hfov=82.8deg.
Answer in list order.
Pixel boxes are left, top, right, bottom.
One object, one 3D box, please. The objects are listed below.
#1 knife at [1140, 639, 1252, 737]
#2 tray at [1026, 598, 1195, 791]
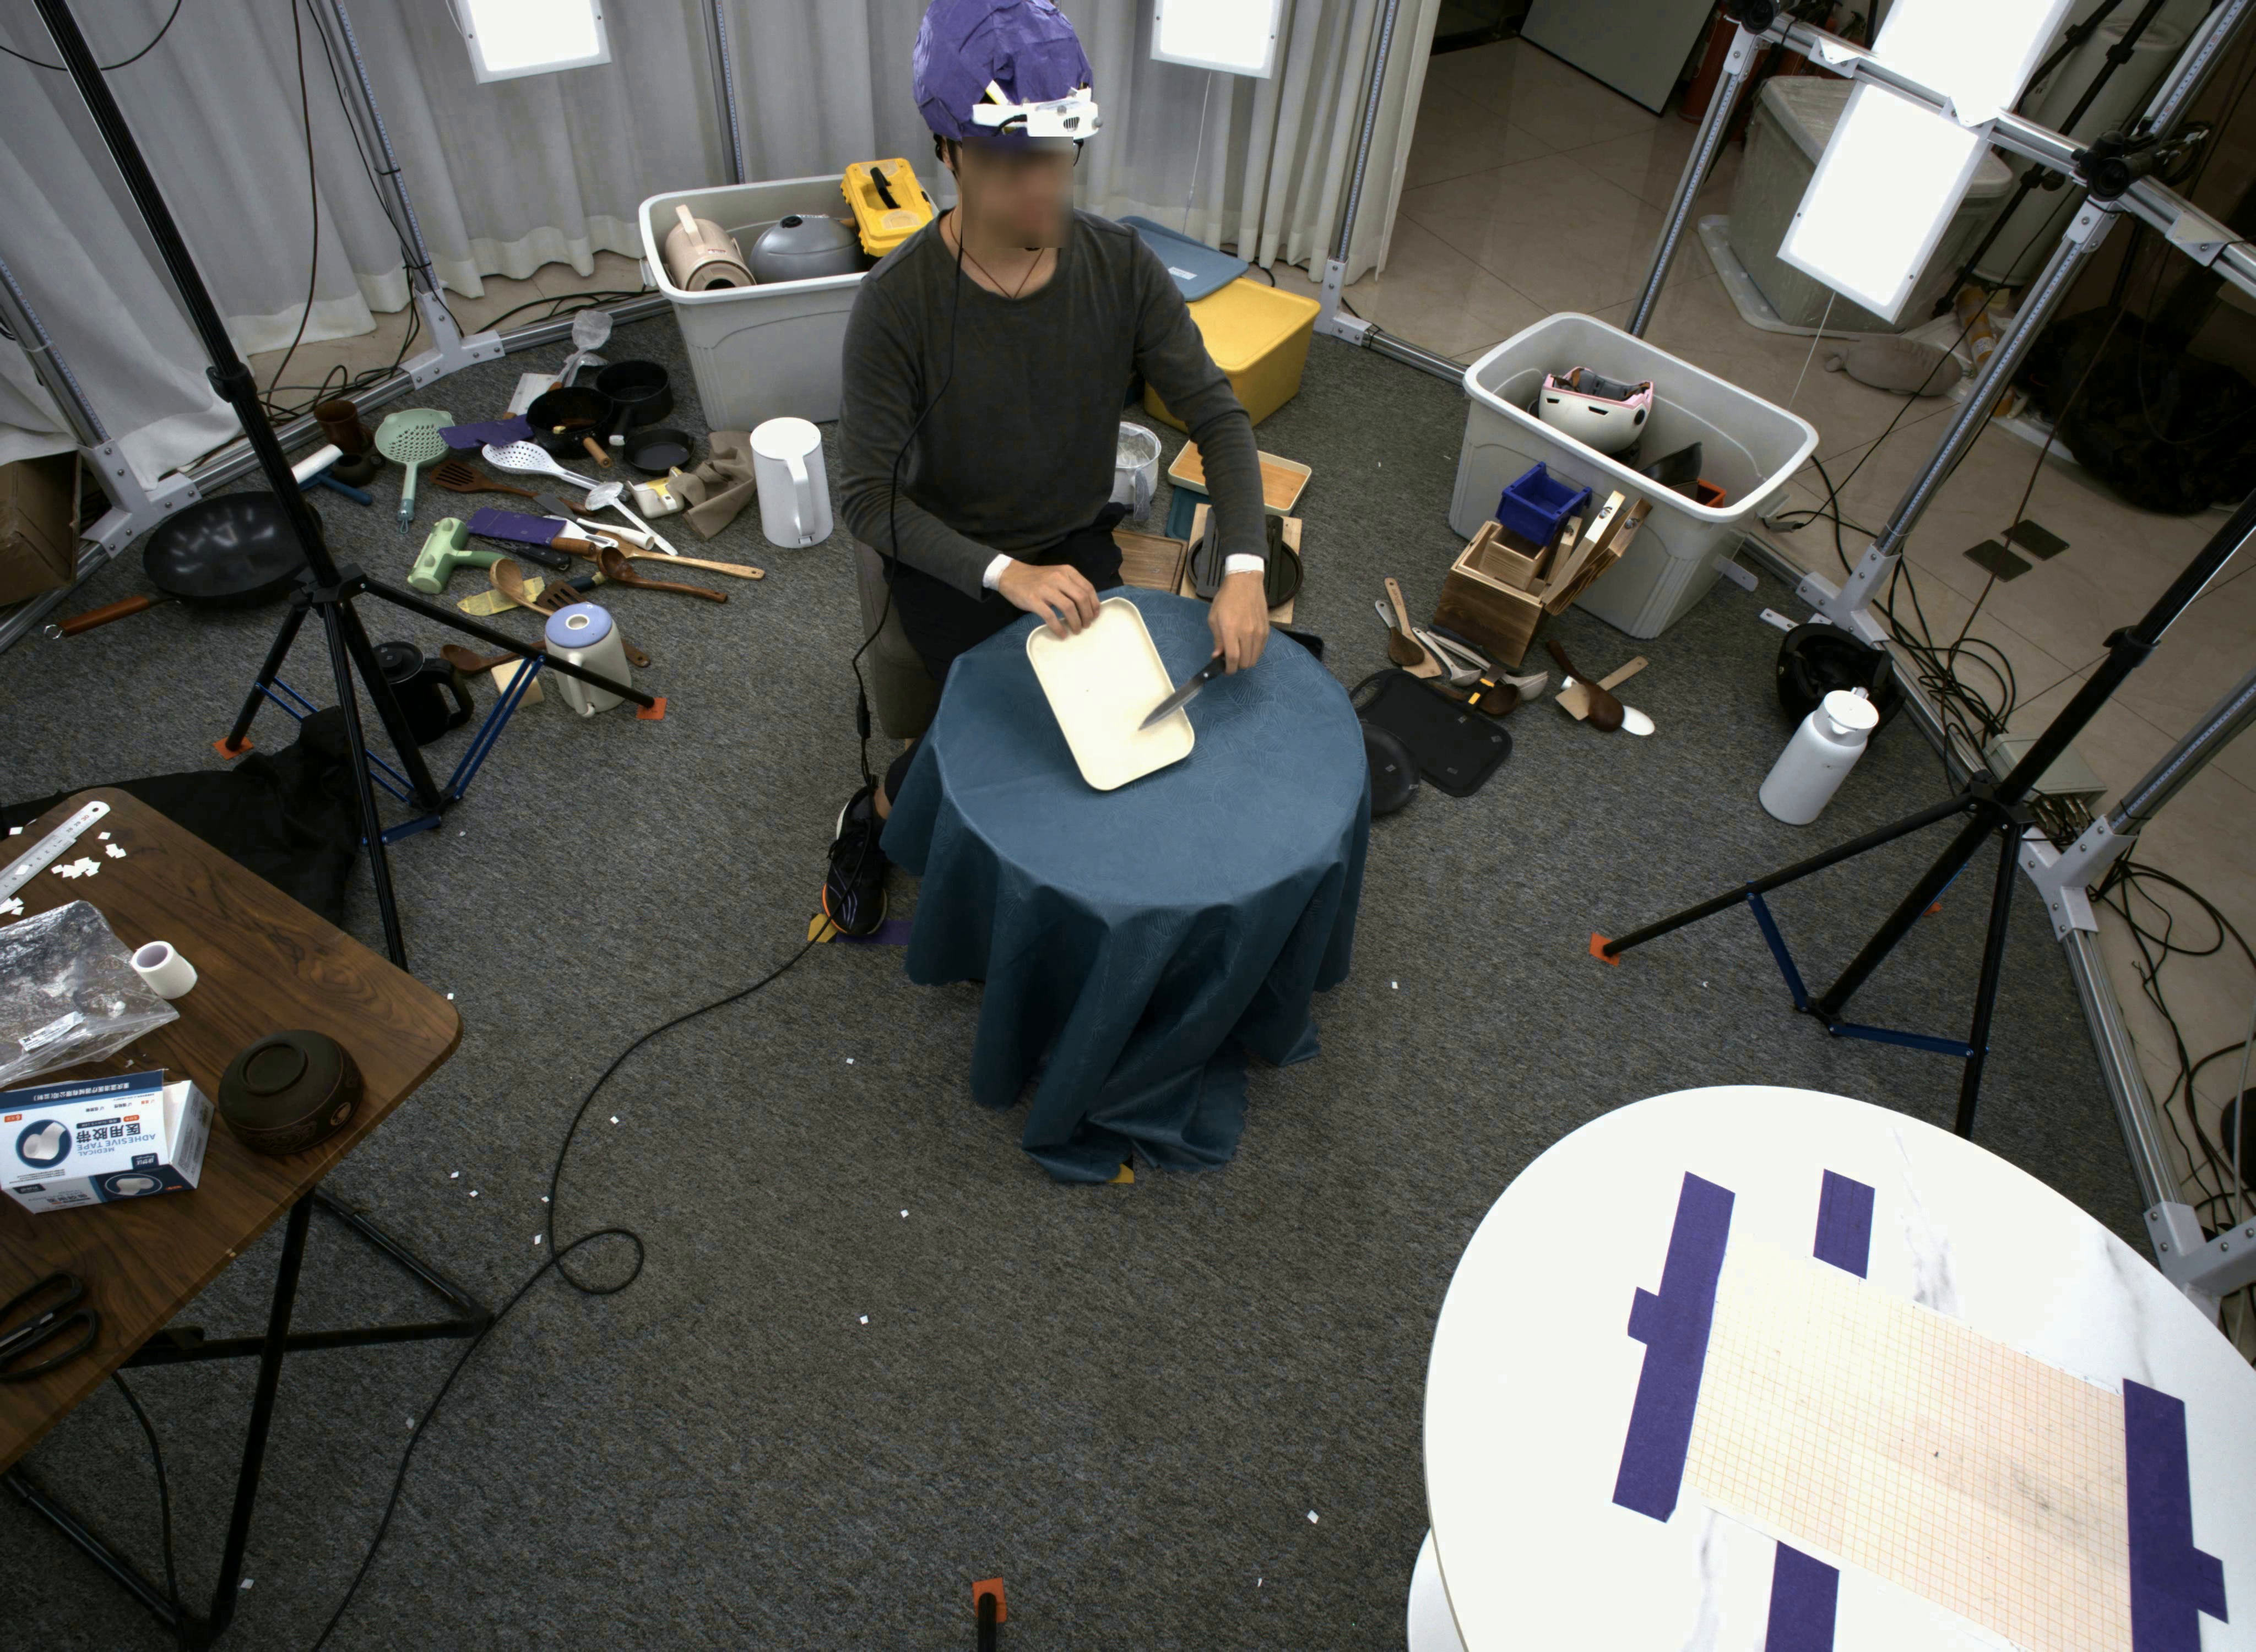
[{"bbox_3d":[0.092,-0.192,1.763,0.241,0.016,0.024,-42,95,-29],"label":"knife"},{"bbox_3d":[-0.024,-0.178,1.729,0.172,0.017,0.240,-24,87,-17],"label":"tray"}]
